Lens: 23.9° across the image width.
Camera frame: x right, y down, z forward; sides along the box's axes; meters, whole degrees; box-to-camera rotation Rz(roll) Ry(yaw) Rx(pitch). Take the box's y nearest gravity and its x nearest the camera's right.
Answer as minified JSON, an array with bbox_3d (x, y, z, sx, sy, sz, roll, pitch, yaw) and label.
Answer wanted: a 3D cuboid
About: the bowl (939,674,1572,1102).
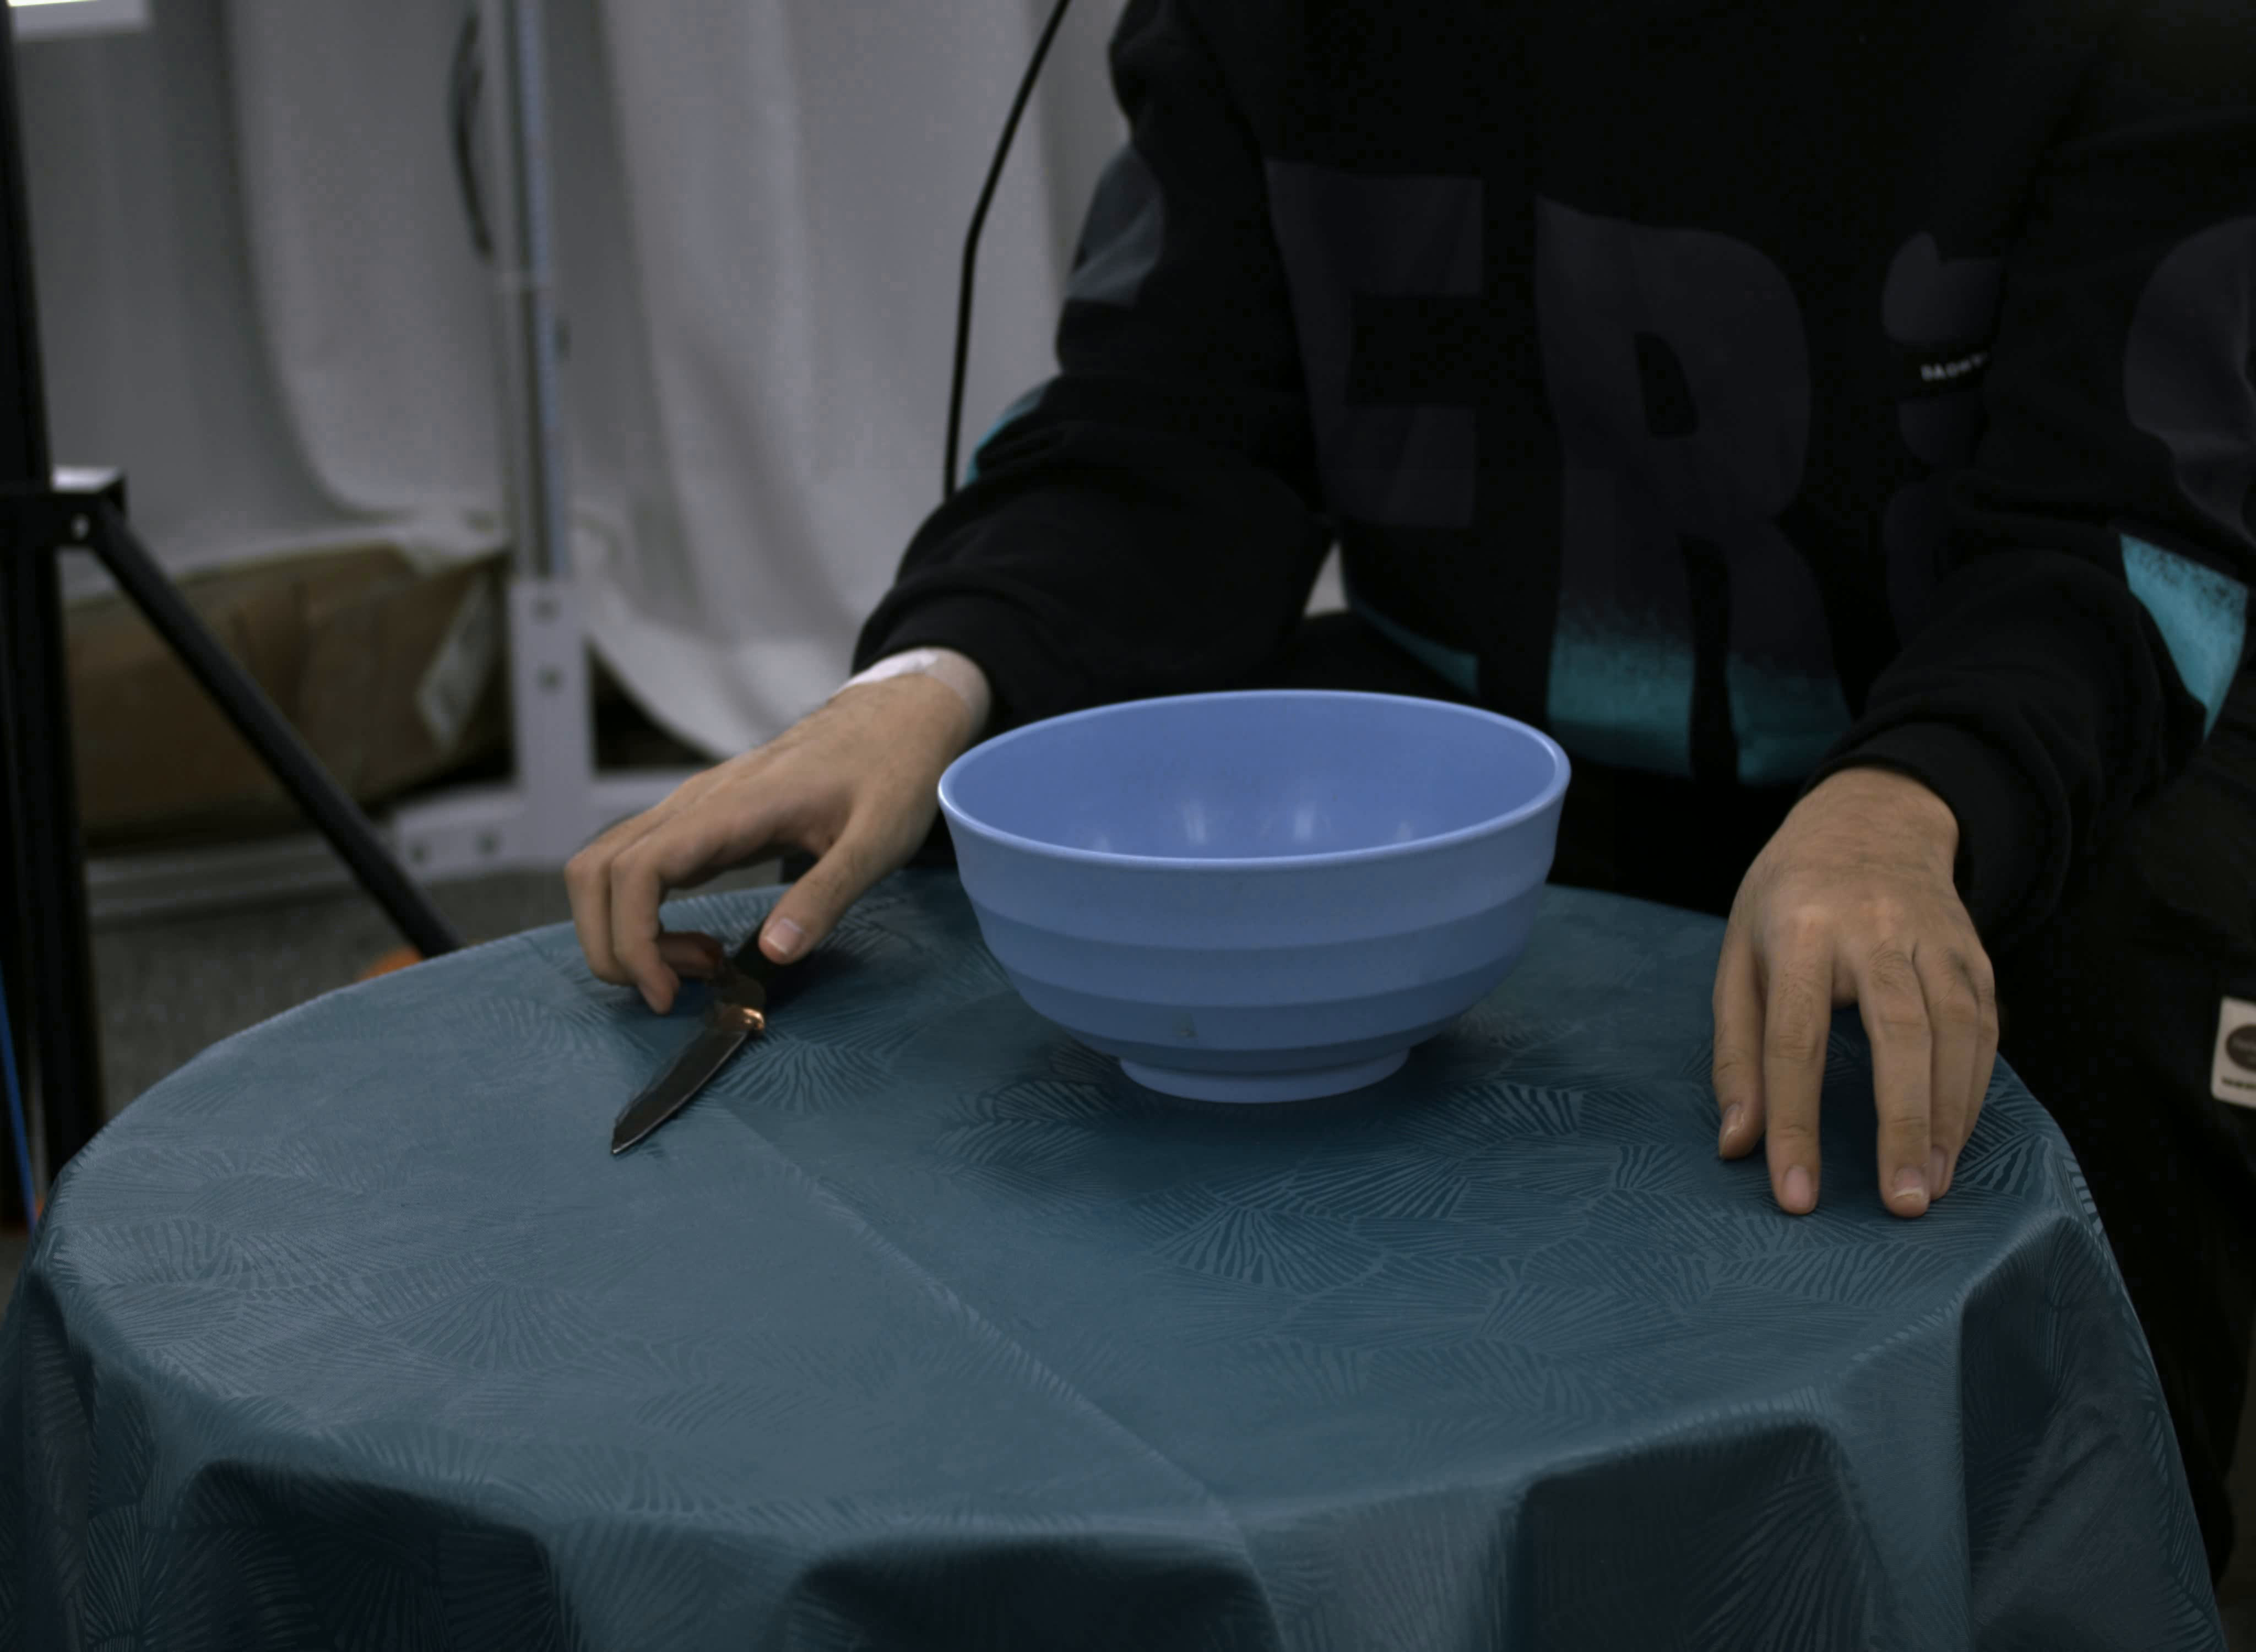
[{"bbox_3d":[0.041,0.026,1.657,0.195,0.095,0.197,-3,19,0],"label":"bowl"}]

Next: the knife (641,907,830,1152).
[{"bbox_3d":[-0.129,0.065,1.712,0.026,0.017,0.224,3,17,10],"label":"knife"}]
